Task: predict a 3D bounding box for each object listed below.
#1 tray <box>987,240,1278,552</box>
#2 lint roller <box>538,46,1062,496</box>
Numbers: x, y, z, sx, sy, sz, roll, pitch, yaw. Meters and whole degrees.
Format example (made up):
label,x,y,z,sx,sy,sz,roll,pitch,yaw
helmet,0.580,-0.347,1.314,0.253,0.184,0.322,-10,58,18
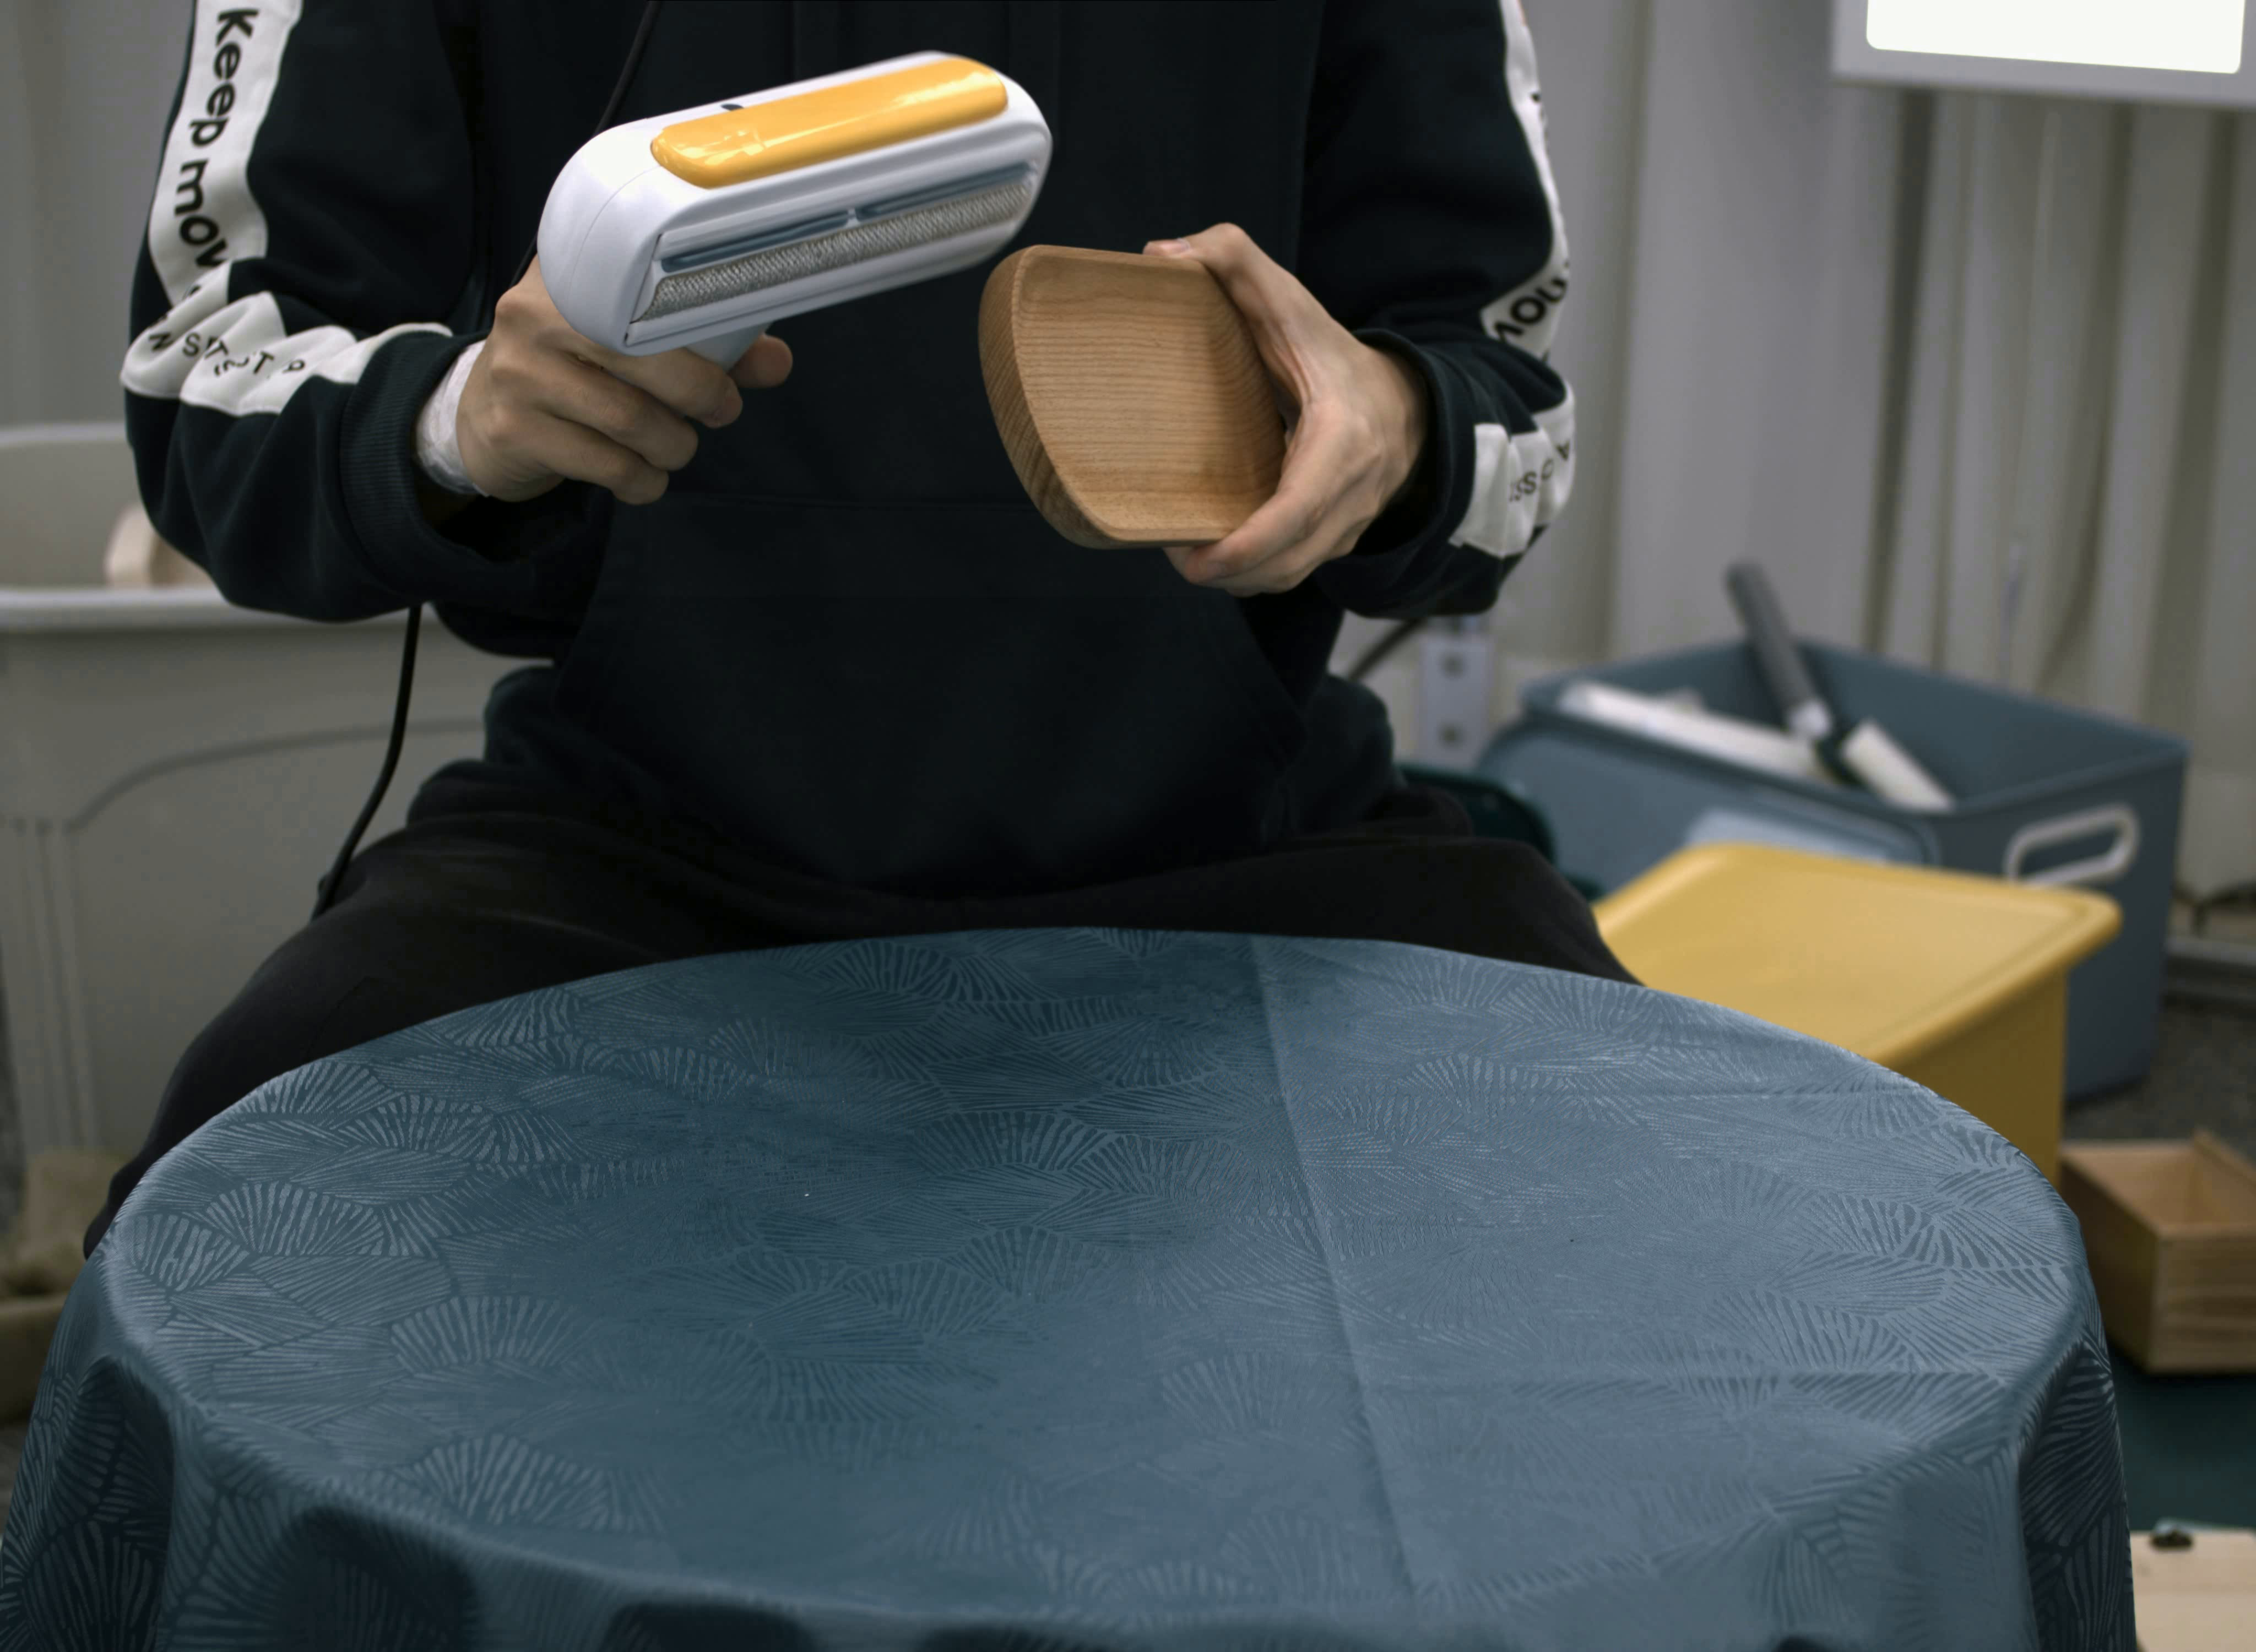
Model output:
label,x,y,z,sx,sy,sz,roll,pitch,yaw
tray,0.003,-0.140,1.743,0.020,0.102,0.232,-15,-2,21
lint roller,-0.129,-0.165,1.690,0.073,0.193,0.193,47,38,16
